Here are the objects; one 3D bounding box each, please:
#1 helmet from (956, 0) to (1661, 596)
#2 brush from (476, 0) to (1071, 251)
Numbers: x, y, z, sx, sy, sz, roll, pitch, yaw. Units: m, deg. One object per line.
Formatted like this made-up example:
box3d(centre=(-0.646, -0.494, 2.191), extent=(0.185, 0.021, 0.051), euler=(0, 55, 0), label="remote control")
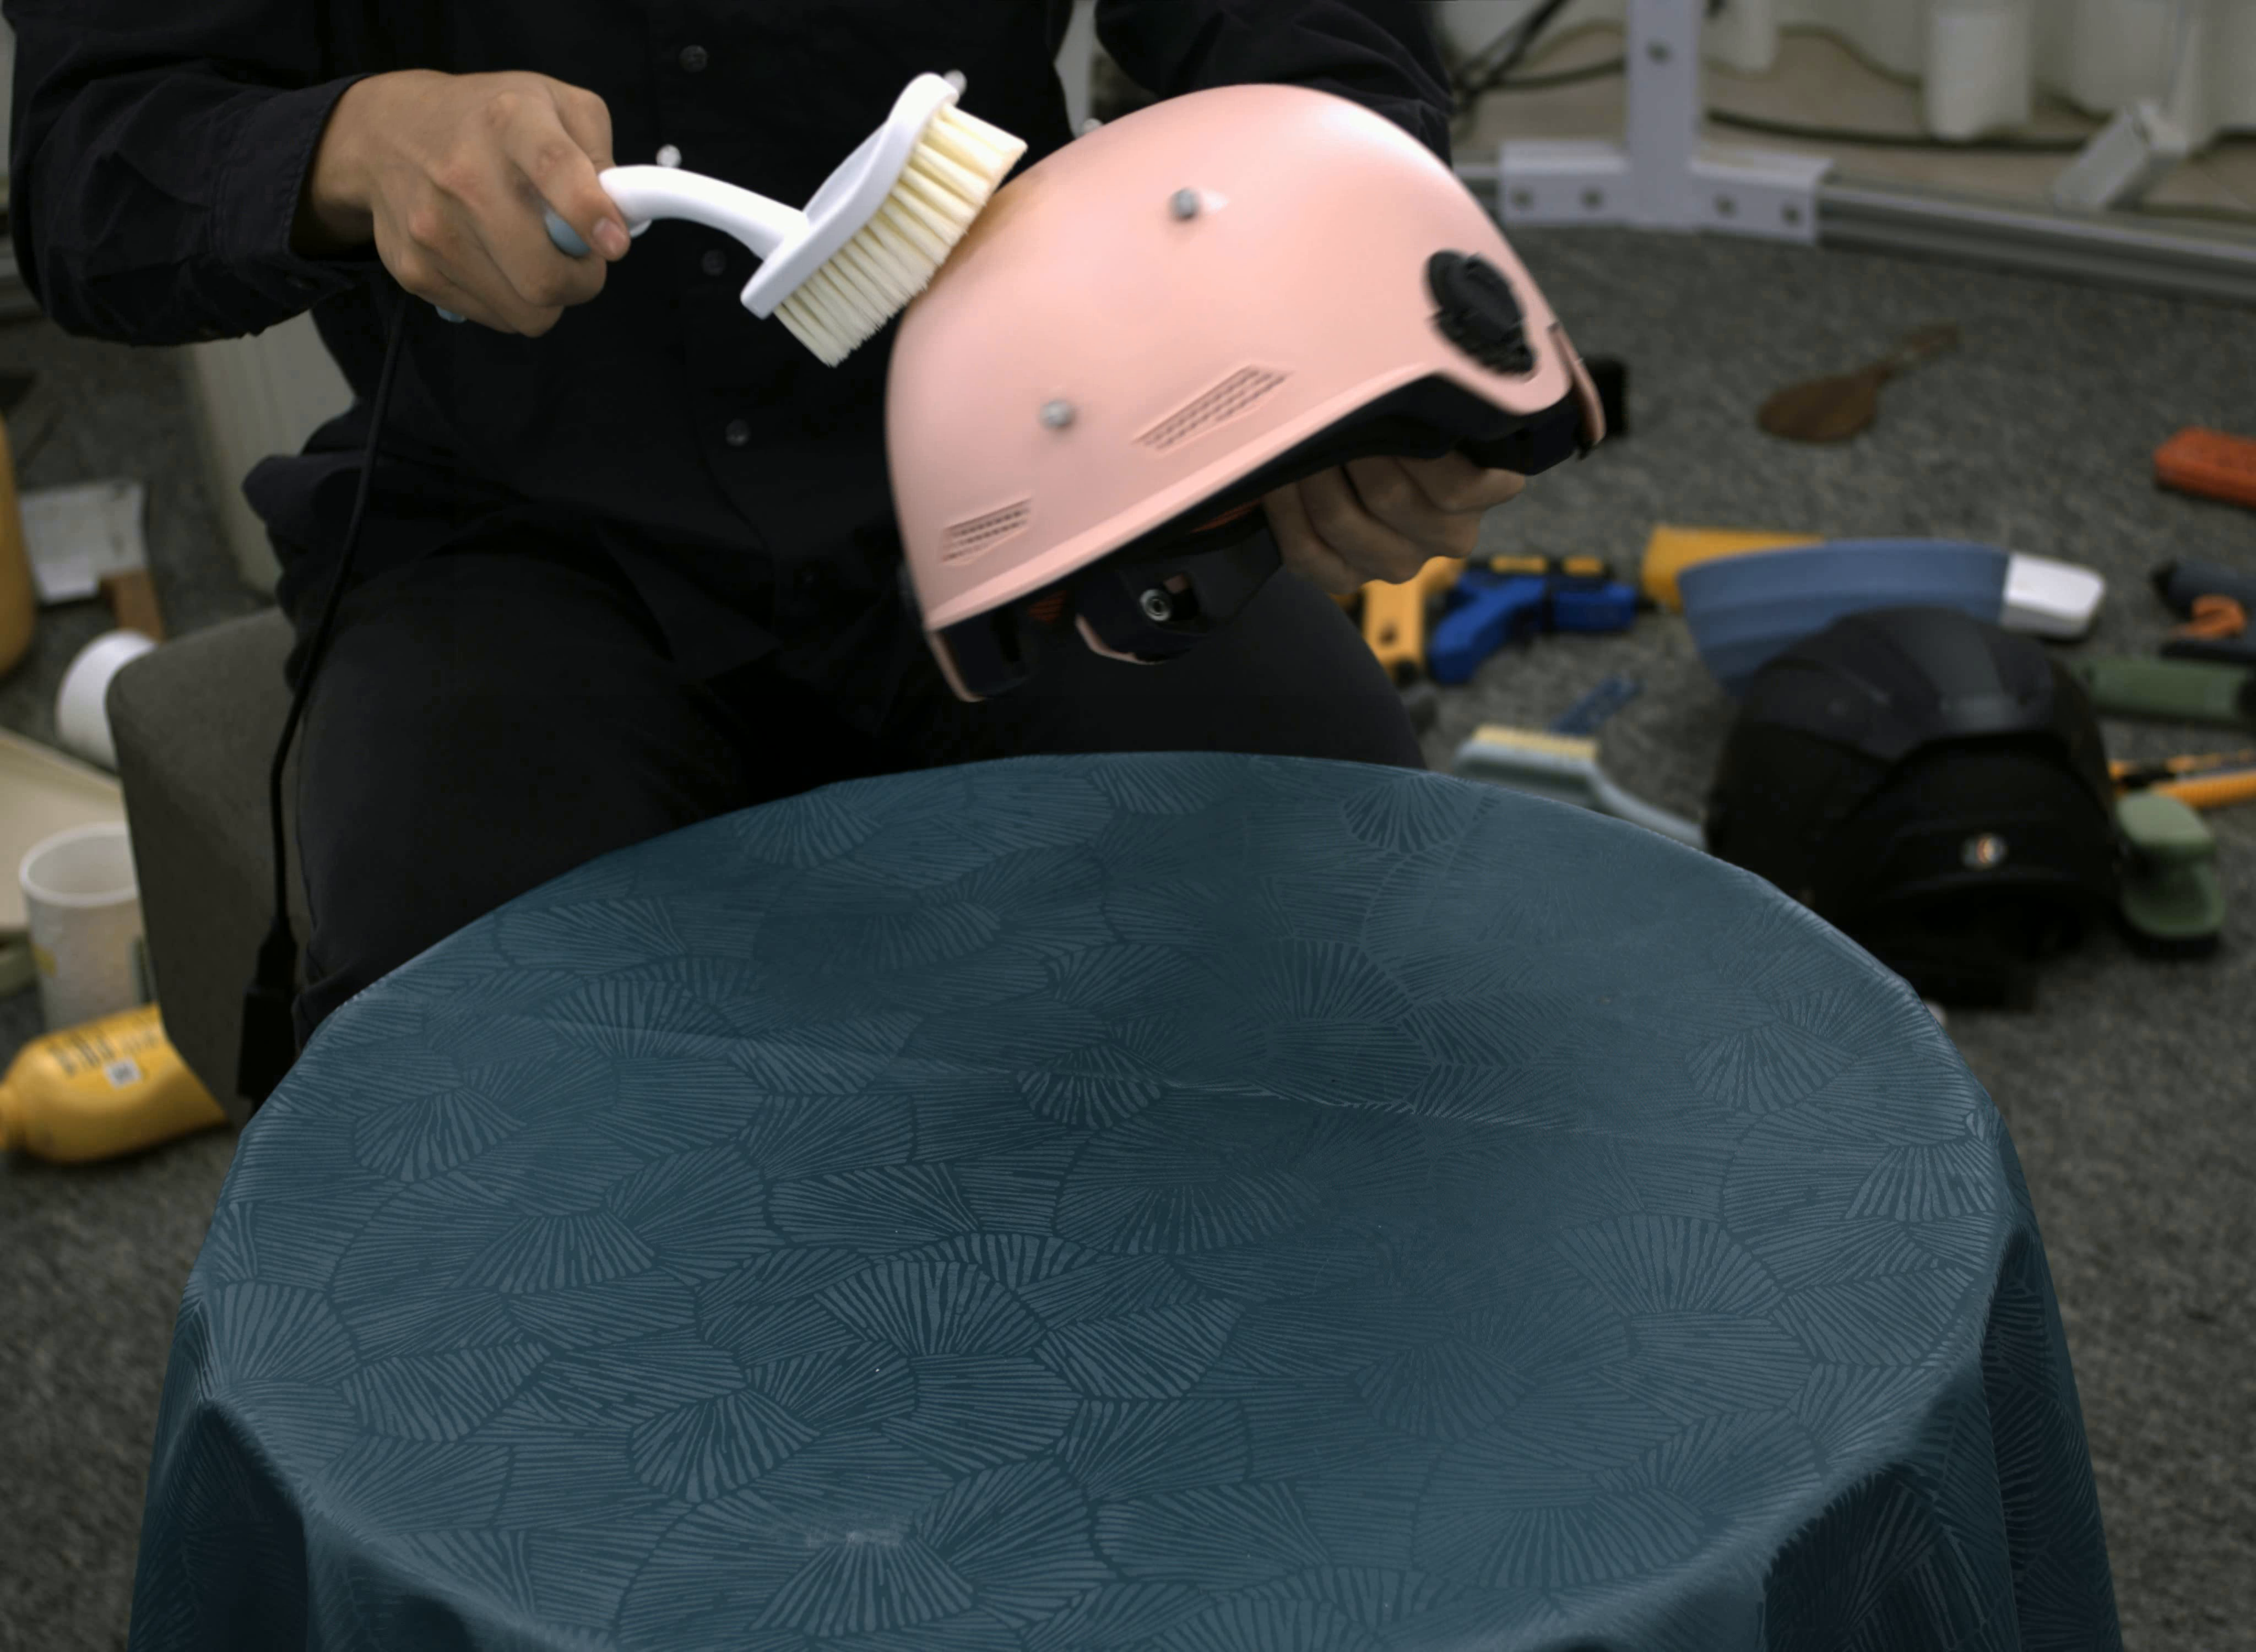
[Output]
box3d(centre=(0.039, -0.192, 1.852), extent=(0.231, 0.159, 0.268), euler=(-27, -4, 22), label="helmet")
box3d(centre=(-0.113, -0.229, 1.930), extent=(0.084, 0.085, 0.322), euler=(-17, 4, -36), label="brush")
